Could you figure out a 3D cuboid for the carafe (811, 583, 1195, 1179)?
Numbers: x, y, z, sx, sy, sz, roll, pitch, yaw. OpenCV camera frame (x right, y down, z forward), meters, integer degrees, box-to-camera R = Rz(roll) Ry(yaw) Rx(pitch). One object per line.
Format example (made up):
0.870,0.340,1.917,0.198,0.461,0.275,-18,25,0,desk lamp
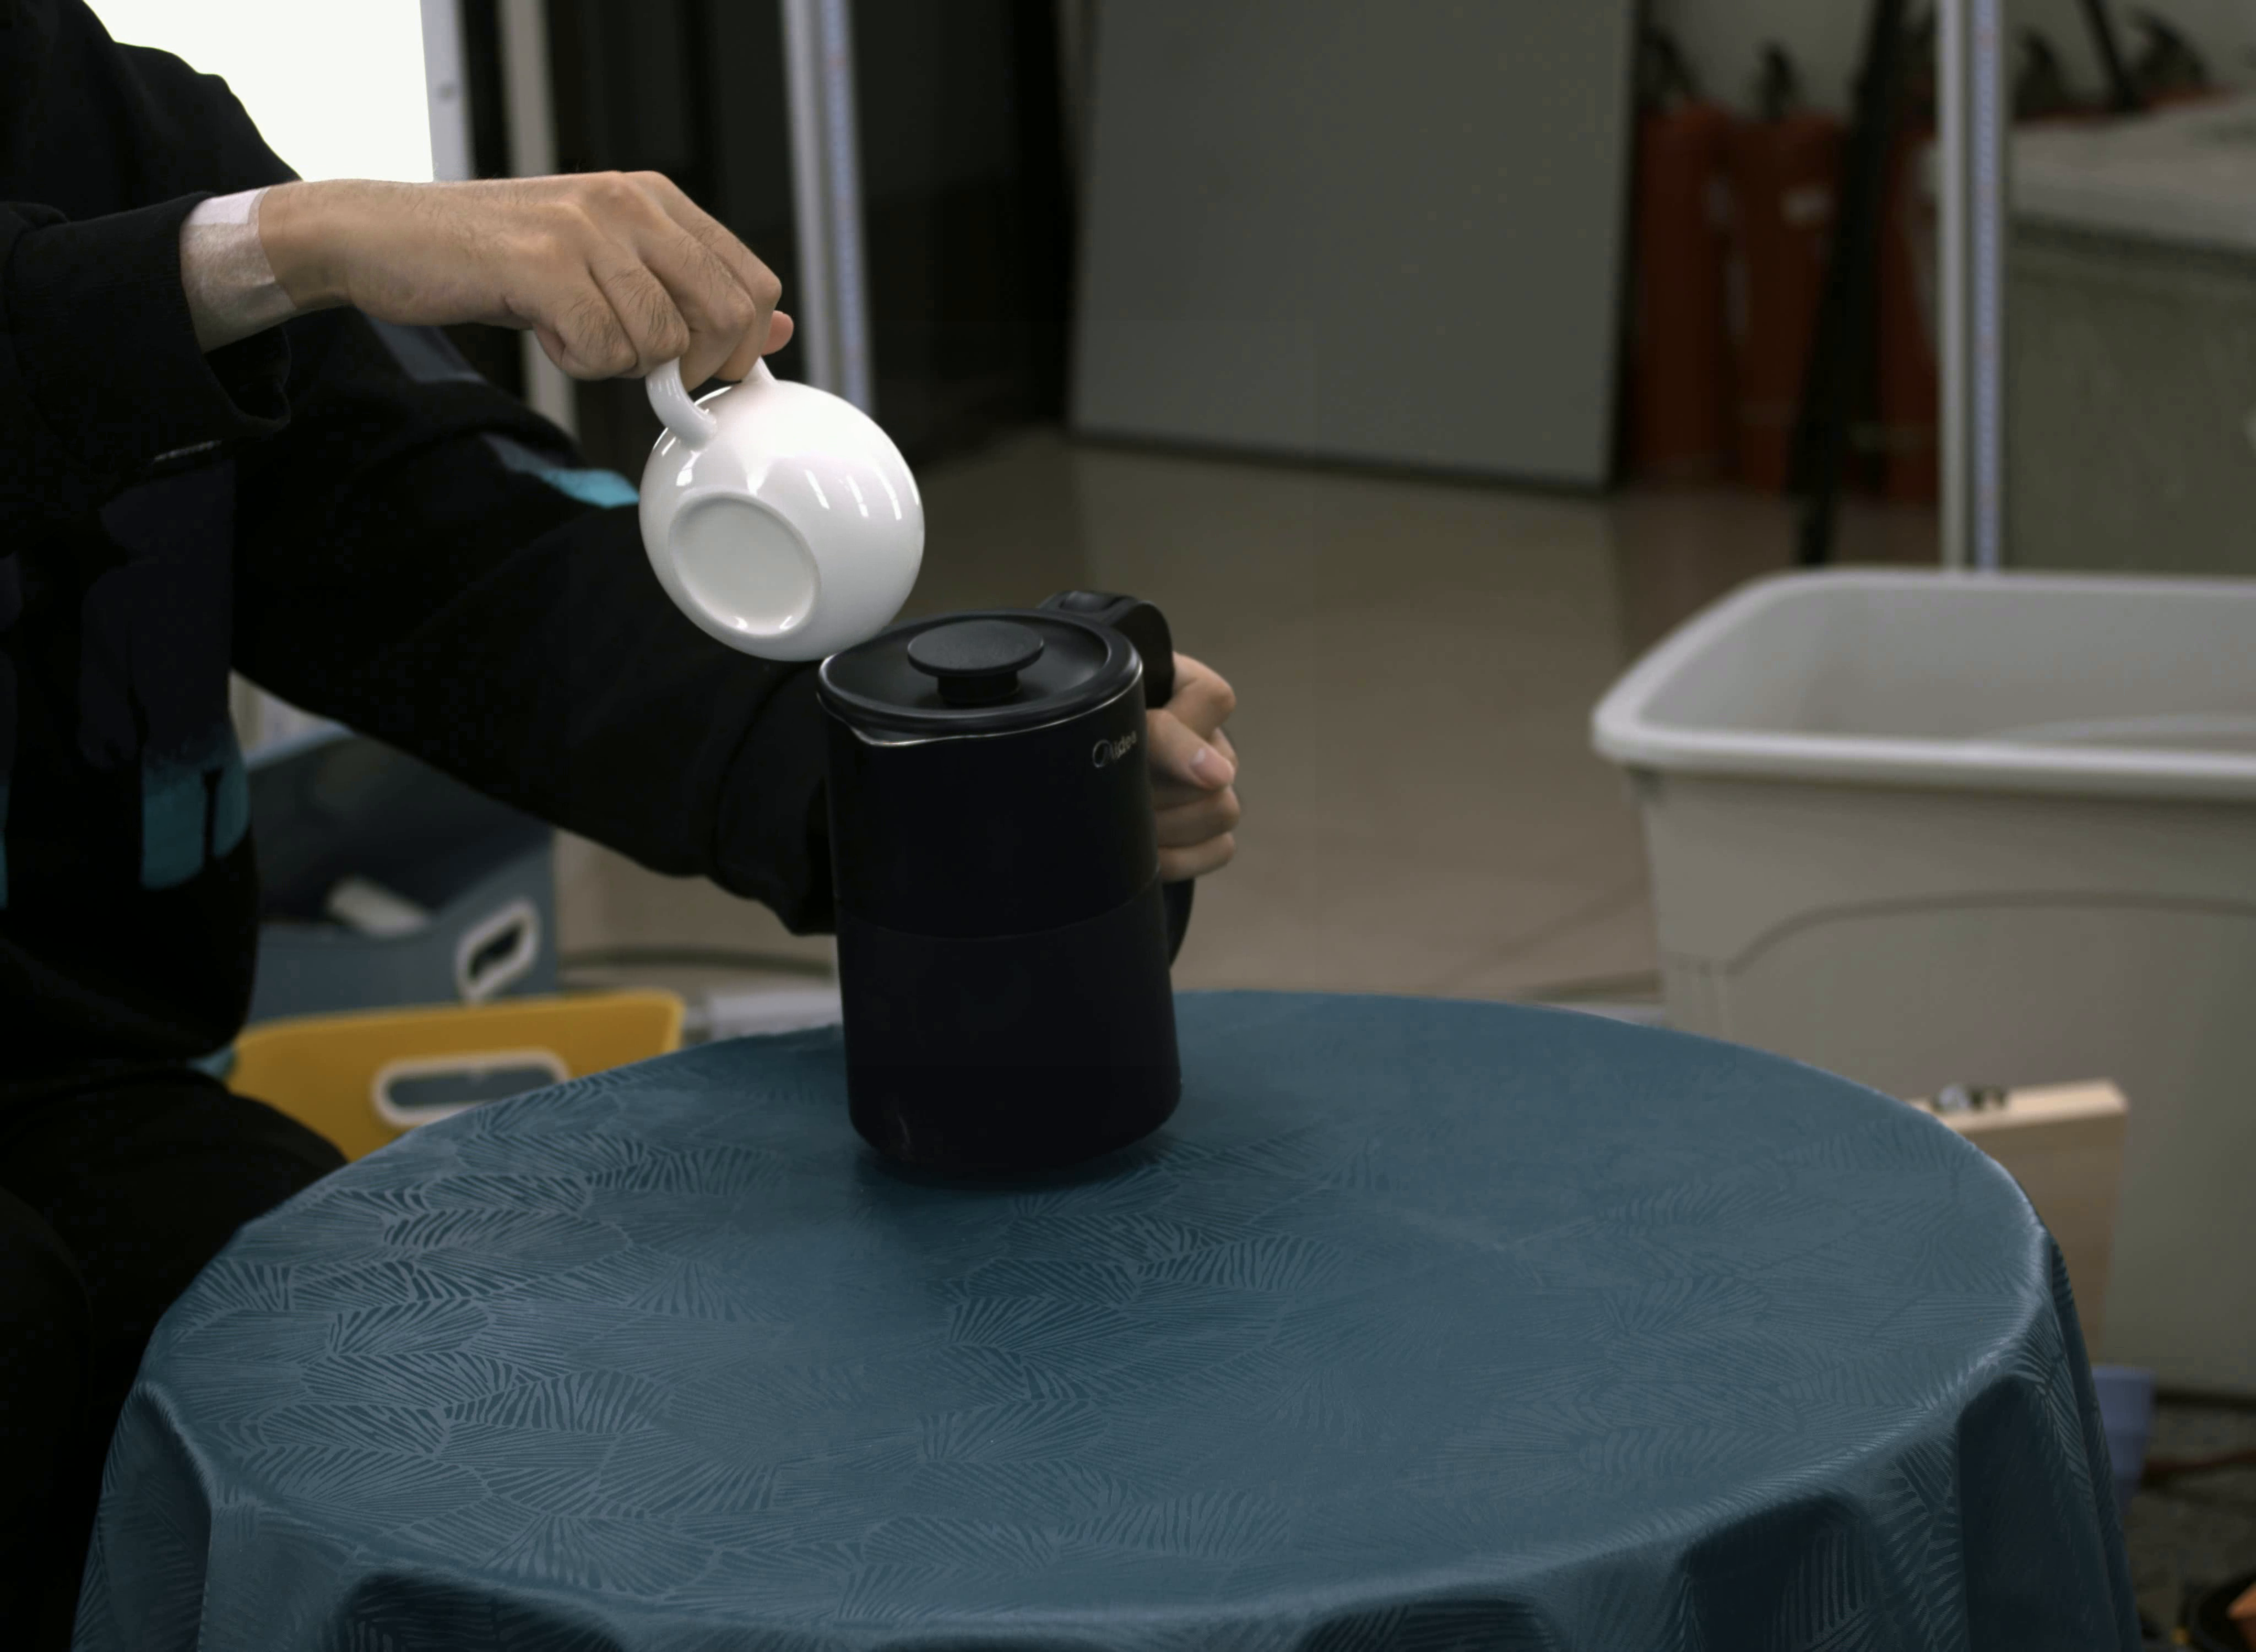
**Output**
-0.033,0.008,1.809,0.115,0.175,0.169,6,26,29,carafe

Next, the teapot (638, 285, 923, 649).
-0.113,-0.110,1.689,0.094,0.128,0.056,-6,26,32,teapot
